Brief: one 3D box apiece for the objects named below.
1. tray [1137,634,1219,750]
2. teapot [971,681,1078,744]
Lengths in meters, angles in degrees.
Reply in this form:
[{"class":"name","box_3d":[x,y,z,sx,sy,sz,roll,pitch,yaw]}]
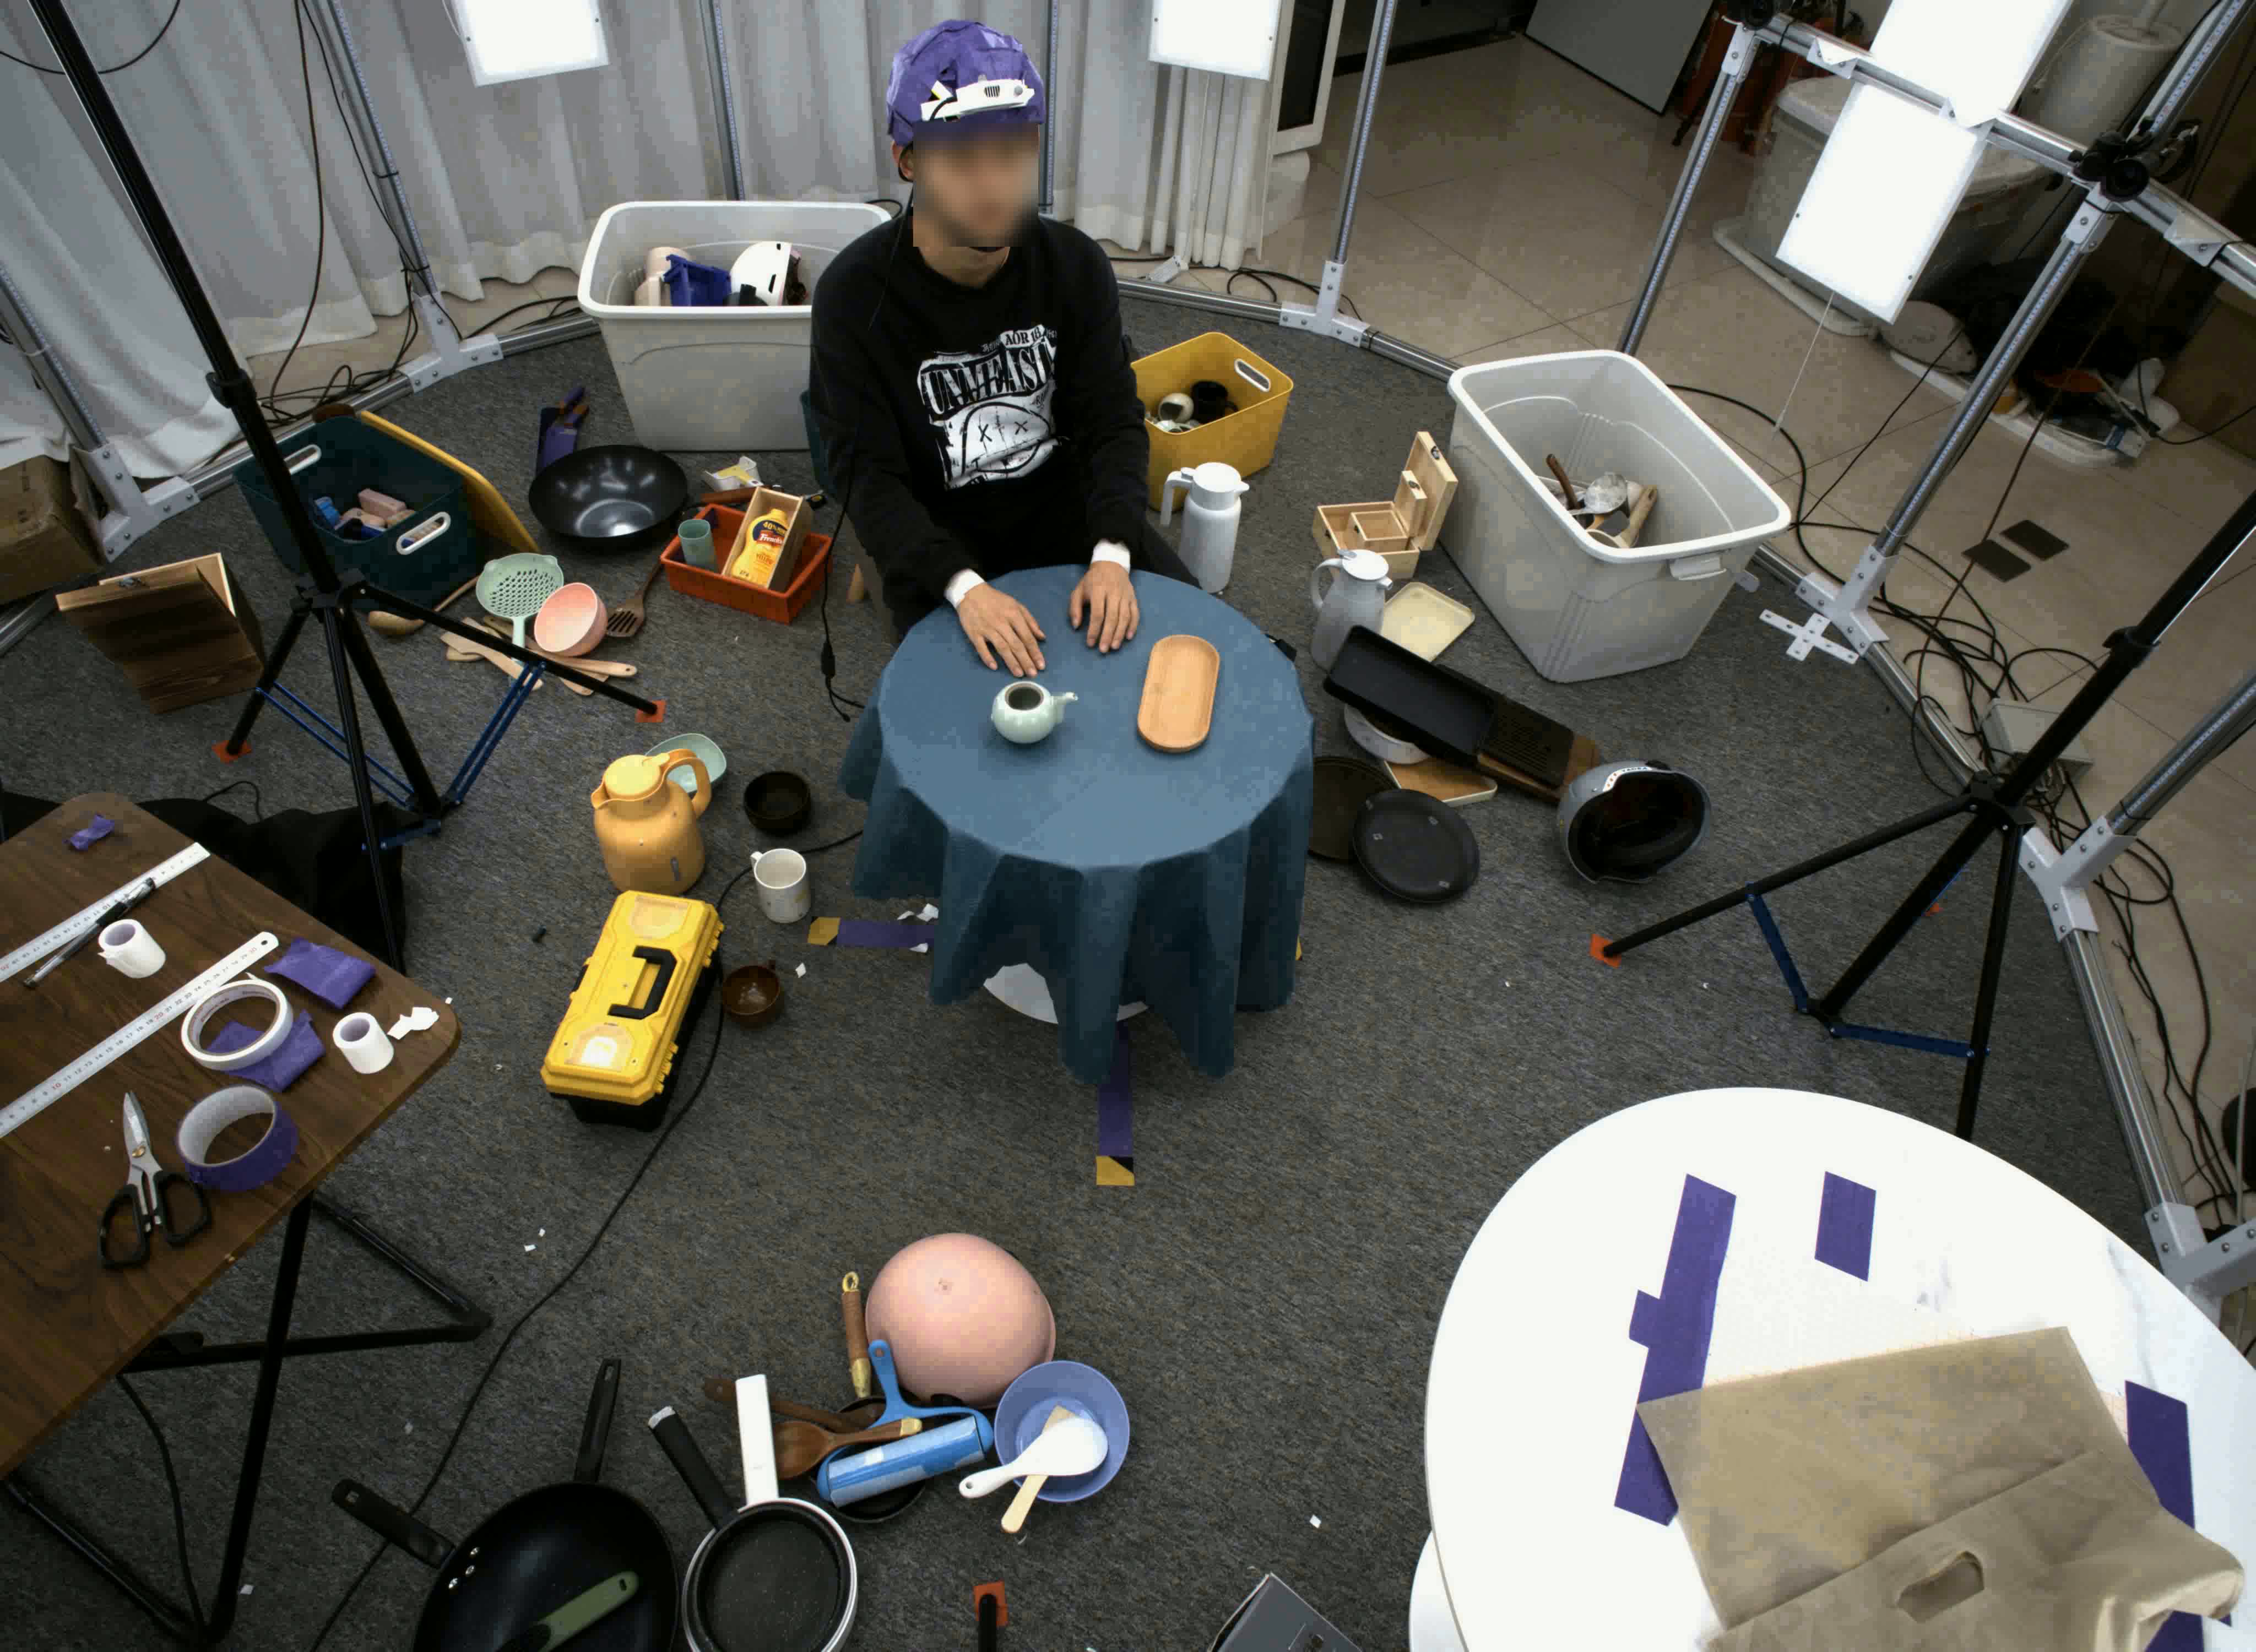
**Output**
[{"class":"tray","box_3d":[0.072,-0.194,1.832,0.102,0.020,0.236,9,48,2]},{"class":"teapot","box_3d":[-0.141,-0.156,1.748,0.143,0.073,0.090,3,49,-3]}]
